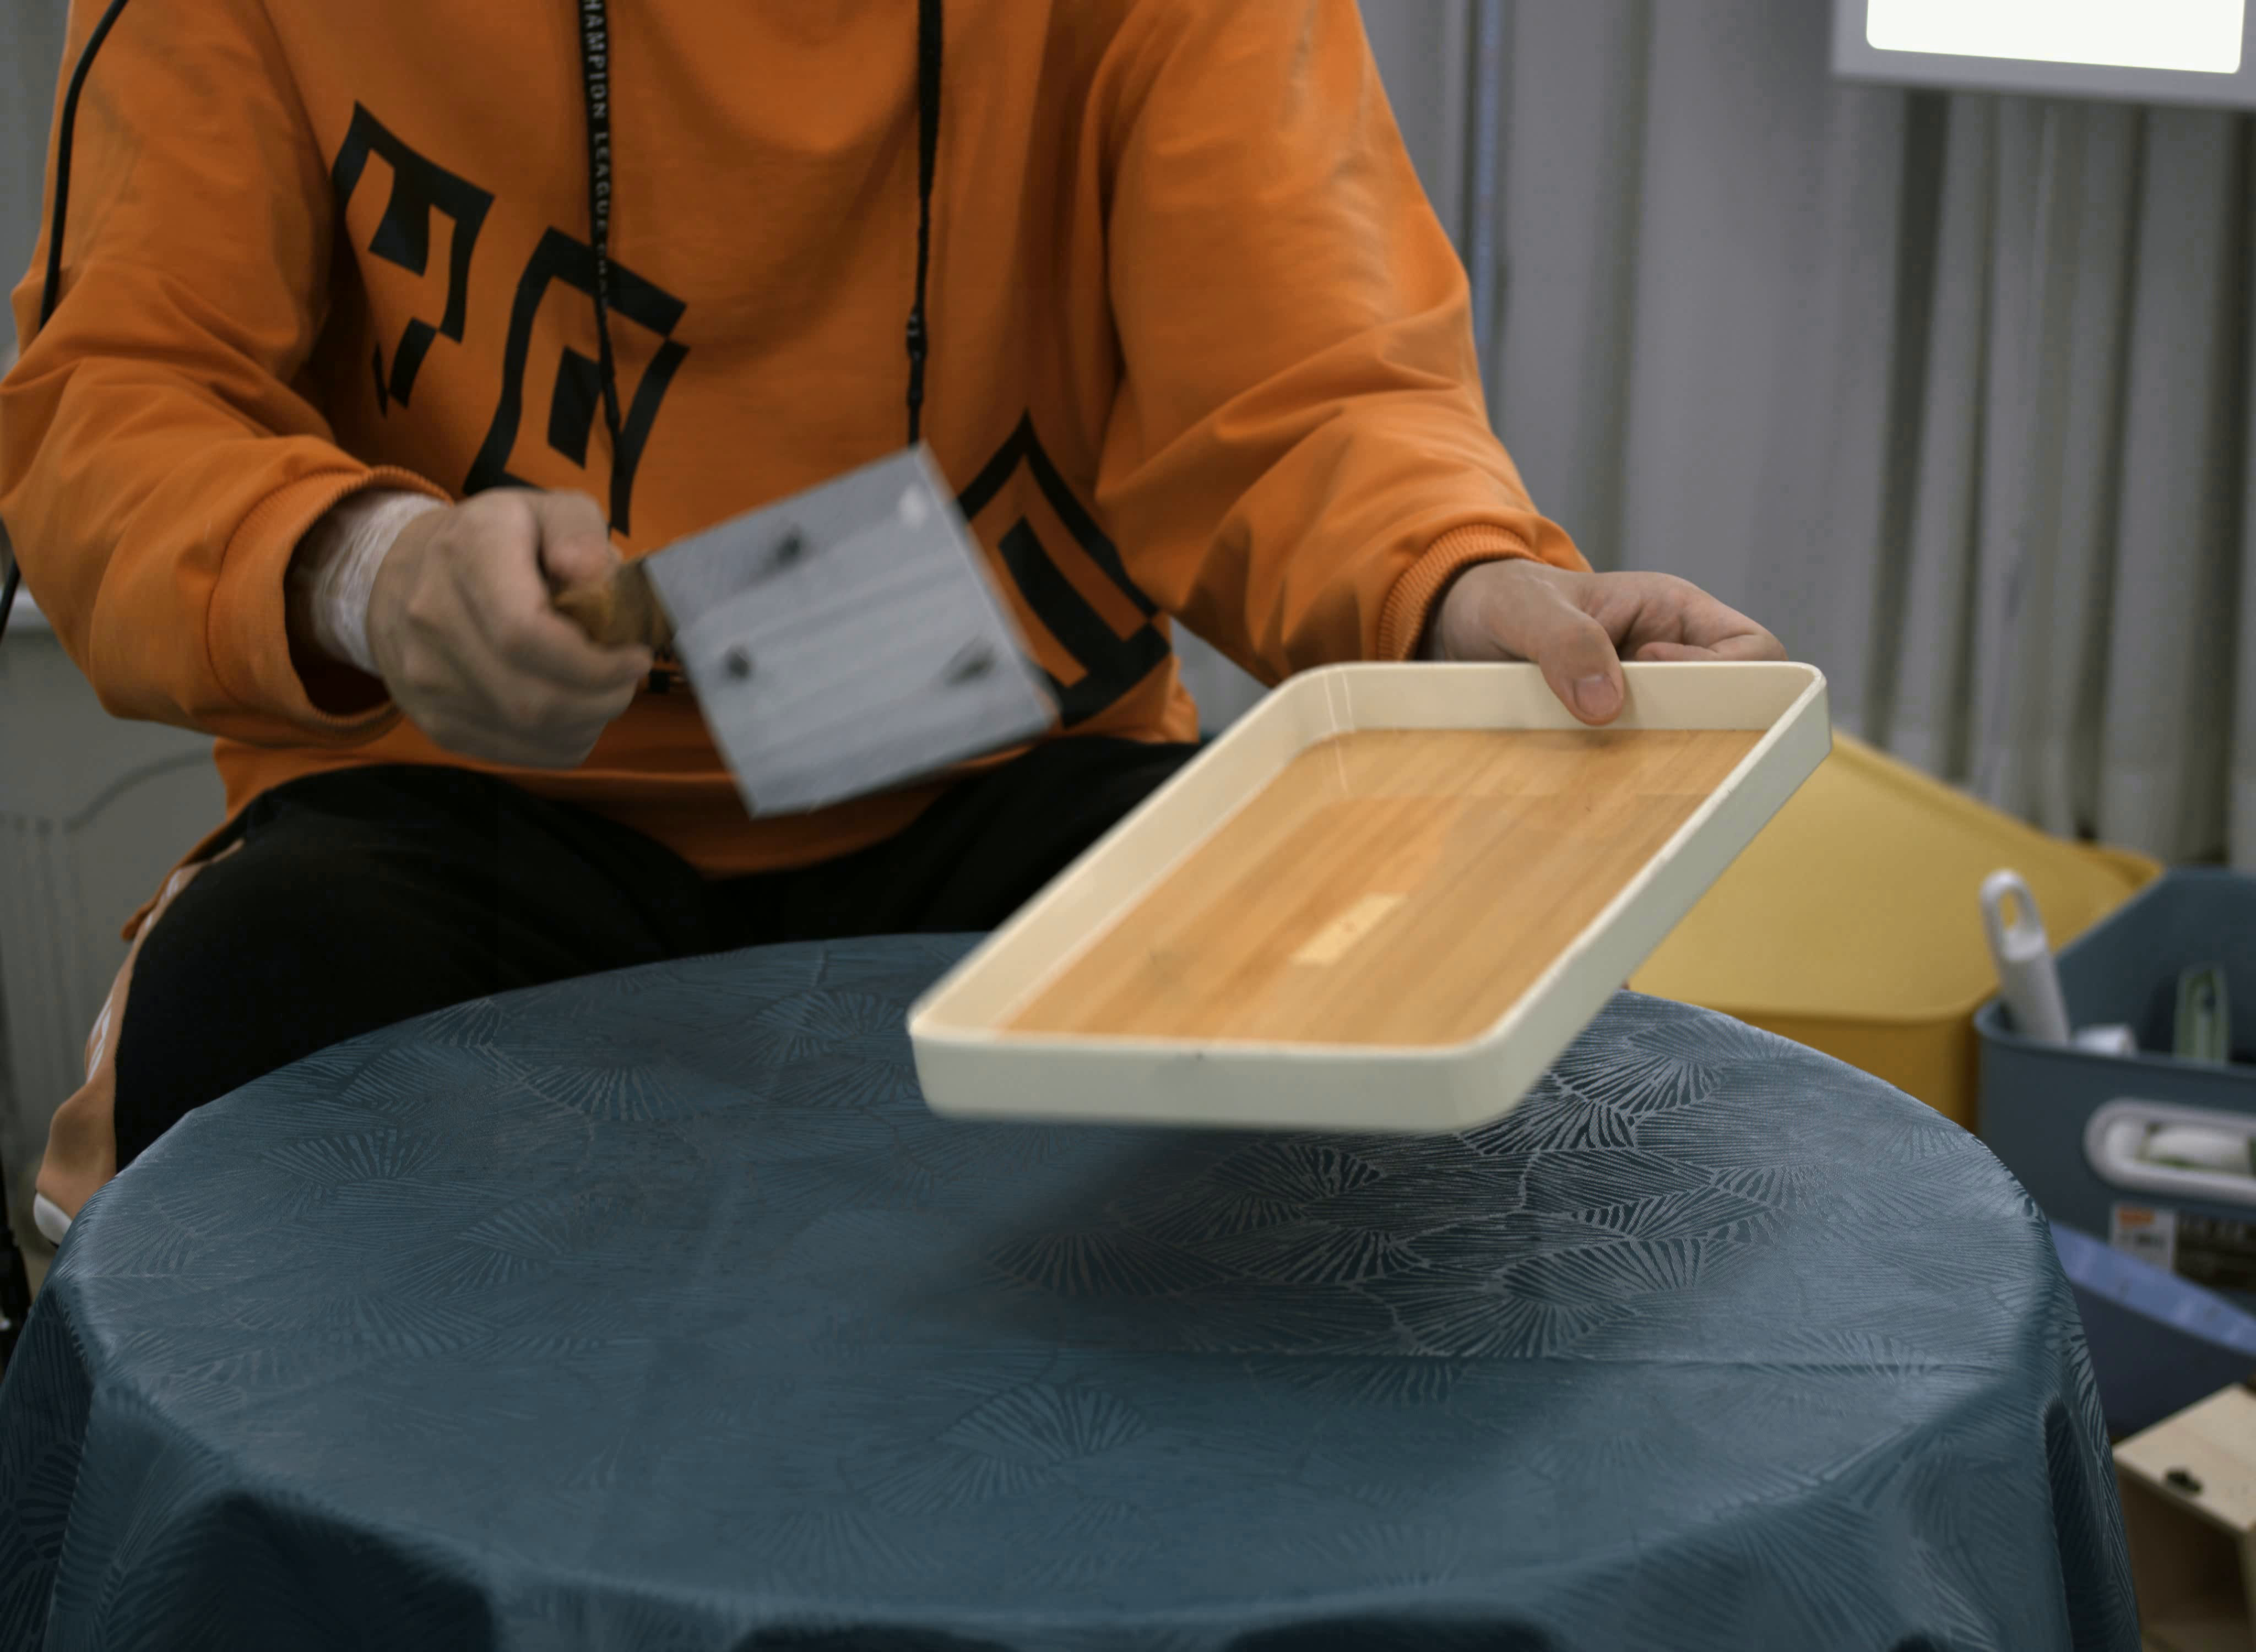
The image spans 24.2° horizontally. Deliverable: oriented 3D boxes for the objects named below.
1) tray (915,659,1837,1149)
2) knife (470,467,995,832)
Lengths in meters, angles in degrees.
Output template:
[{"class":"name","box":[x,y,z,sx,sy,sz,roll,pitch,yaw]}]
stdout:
[{"class":"tray","box":[0.082,0.019,1.593,0.189,0.028,0.300,-1,24,28]},{"class":"knife","box":[-0.122,-0.043,1.605,0.021,0.093,0.303,-31,8,-30]}]
